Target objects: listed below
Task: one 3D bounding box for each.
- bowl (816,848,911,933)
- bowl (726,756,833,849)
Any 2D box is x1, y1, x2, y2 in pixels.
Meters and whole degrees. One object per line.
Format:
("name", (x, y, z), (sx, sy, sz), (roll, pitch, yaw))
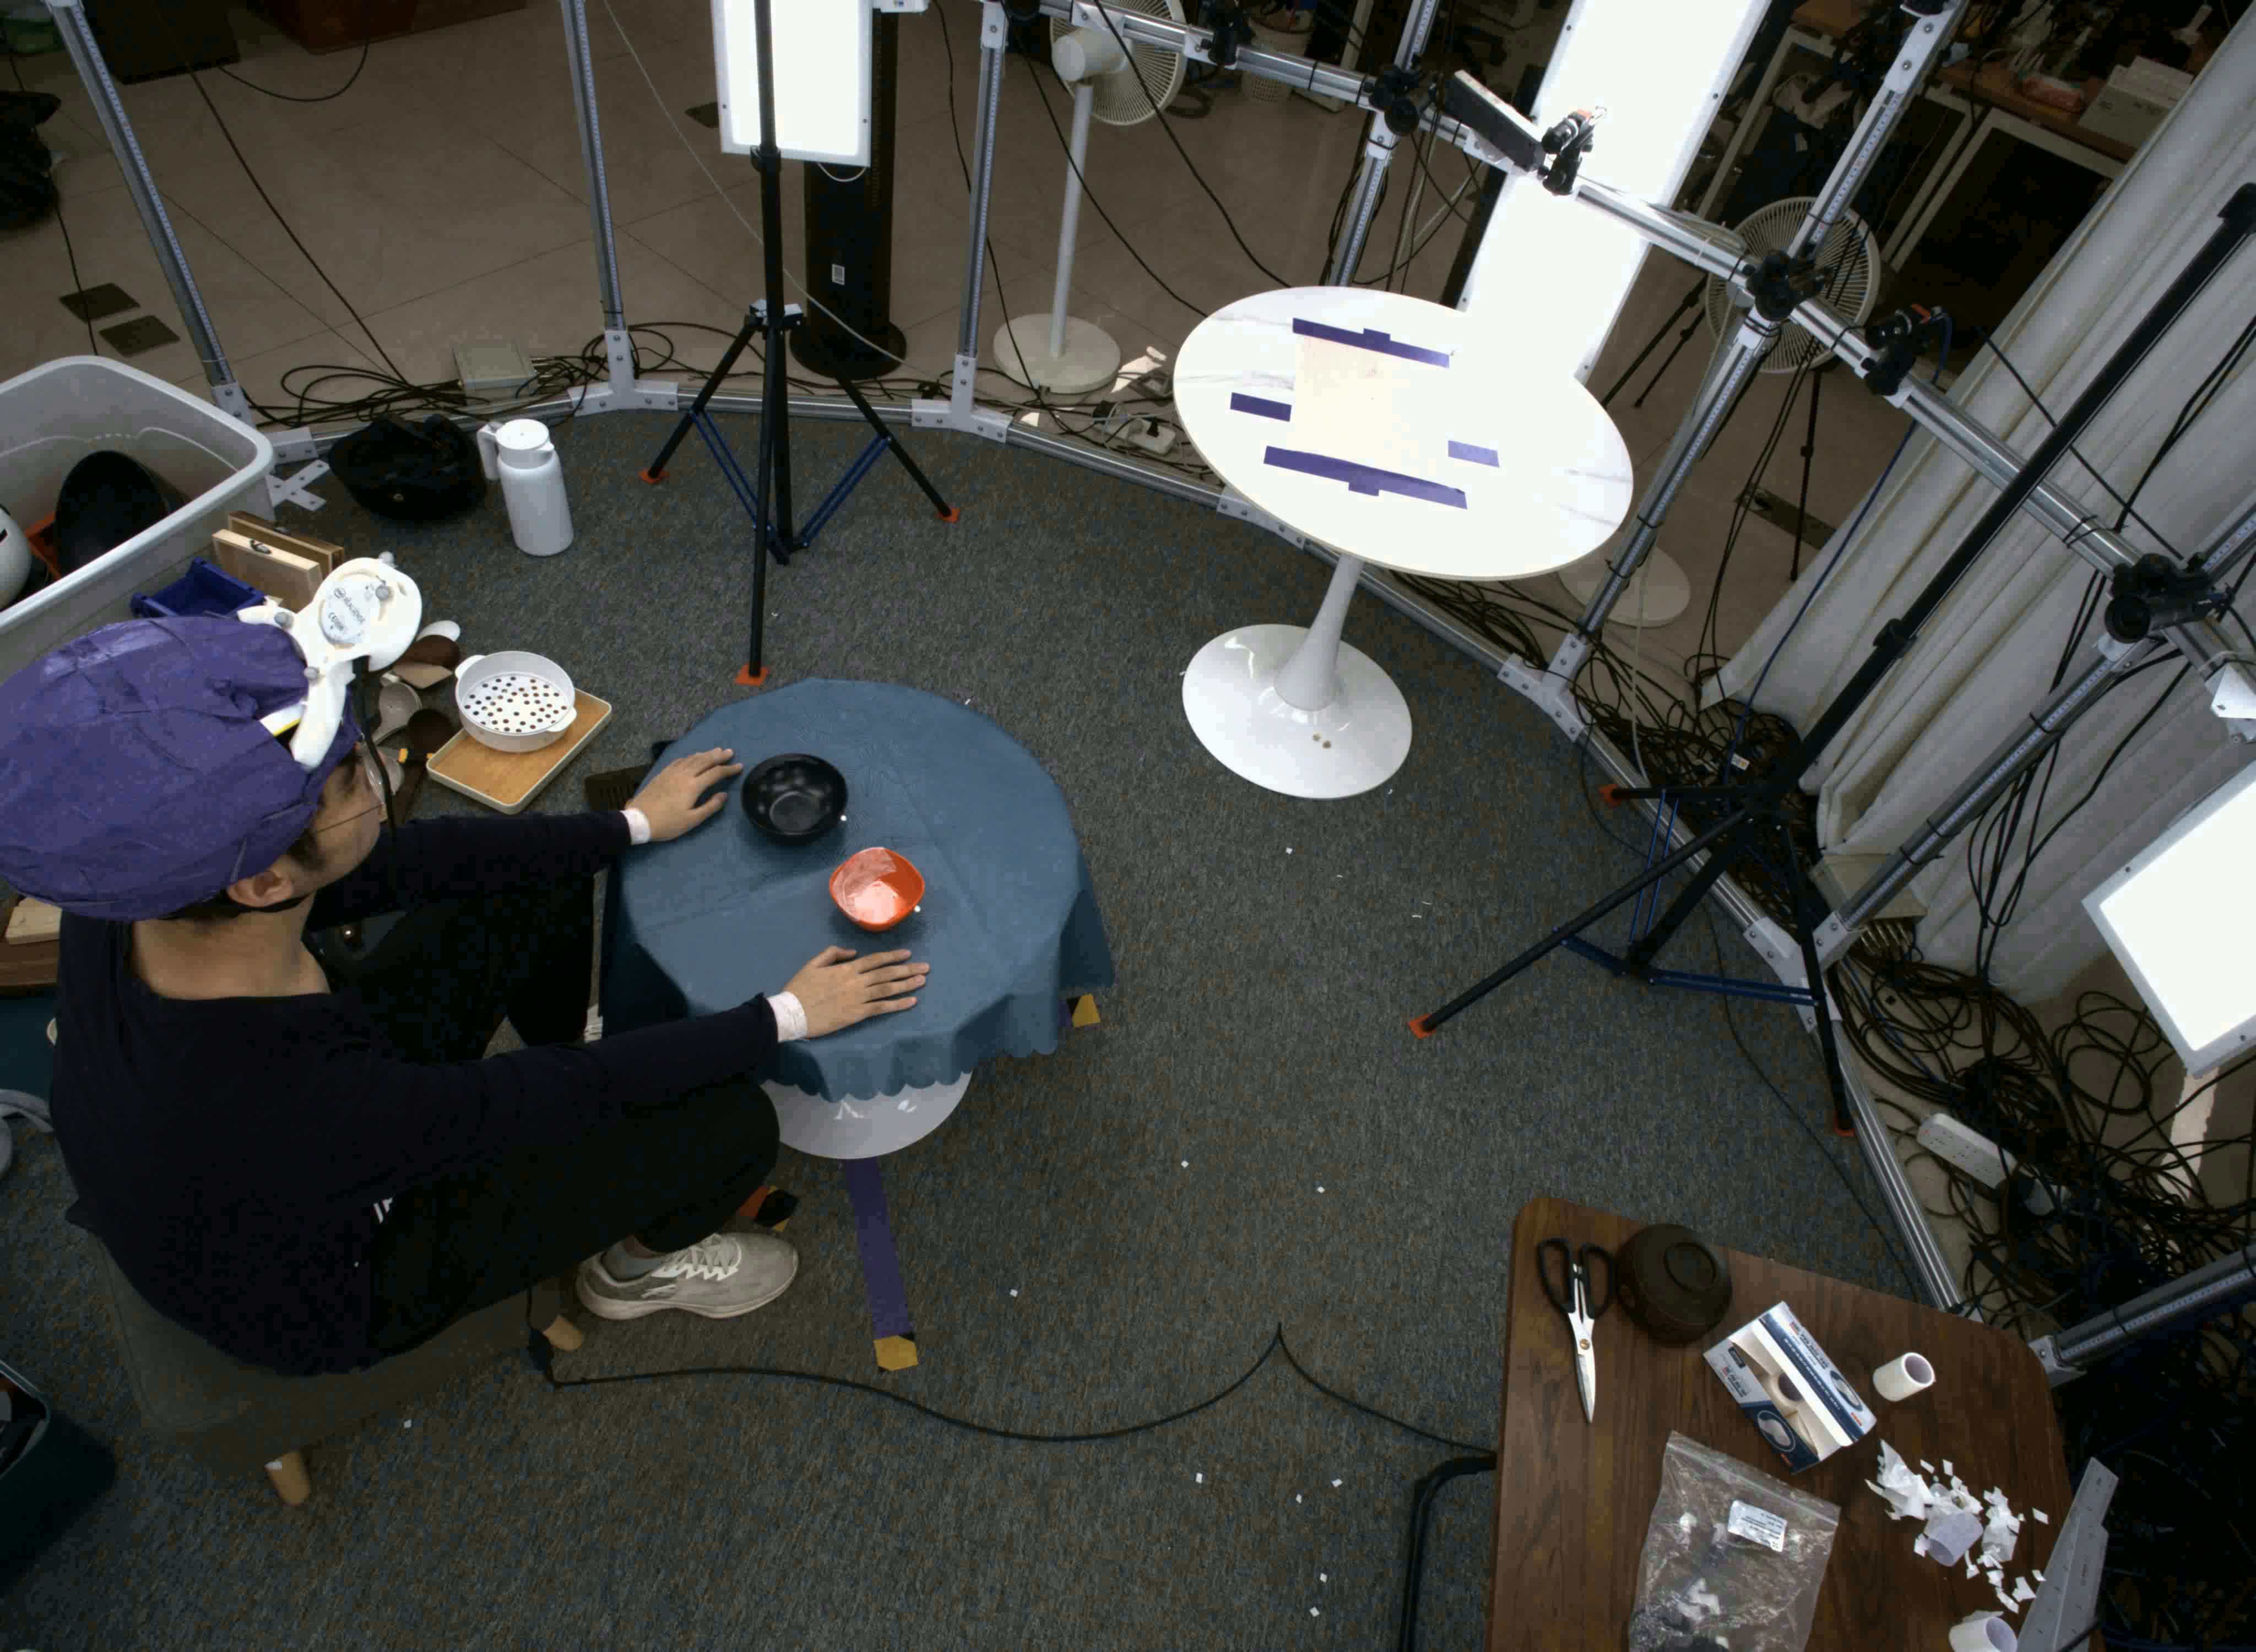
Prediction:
("bowl", (-0.337, 0.090, 1.657), (0.119, 0.052, 0.117), (9, 51, -10))
("bowl", (-0.459, -0.024, 1.716), (0.139, 0.051, 0.138), (5, 56, -6))
